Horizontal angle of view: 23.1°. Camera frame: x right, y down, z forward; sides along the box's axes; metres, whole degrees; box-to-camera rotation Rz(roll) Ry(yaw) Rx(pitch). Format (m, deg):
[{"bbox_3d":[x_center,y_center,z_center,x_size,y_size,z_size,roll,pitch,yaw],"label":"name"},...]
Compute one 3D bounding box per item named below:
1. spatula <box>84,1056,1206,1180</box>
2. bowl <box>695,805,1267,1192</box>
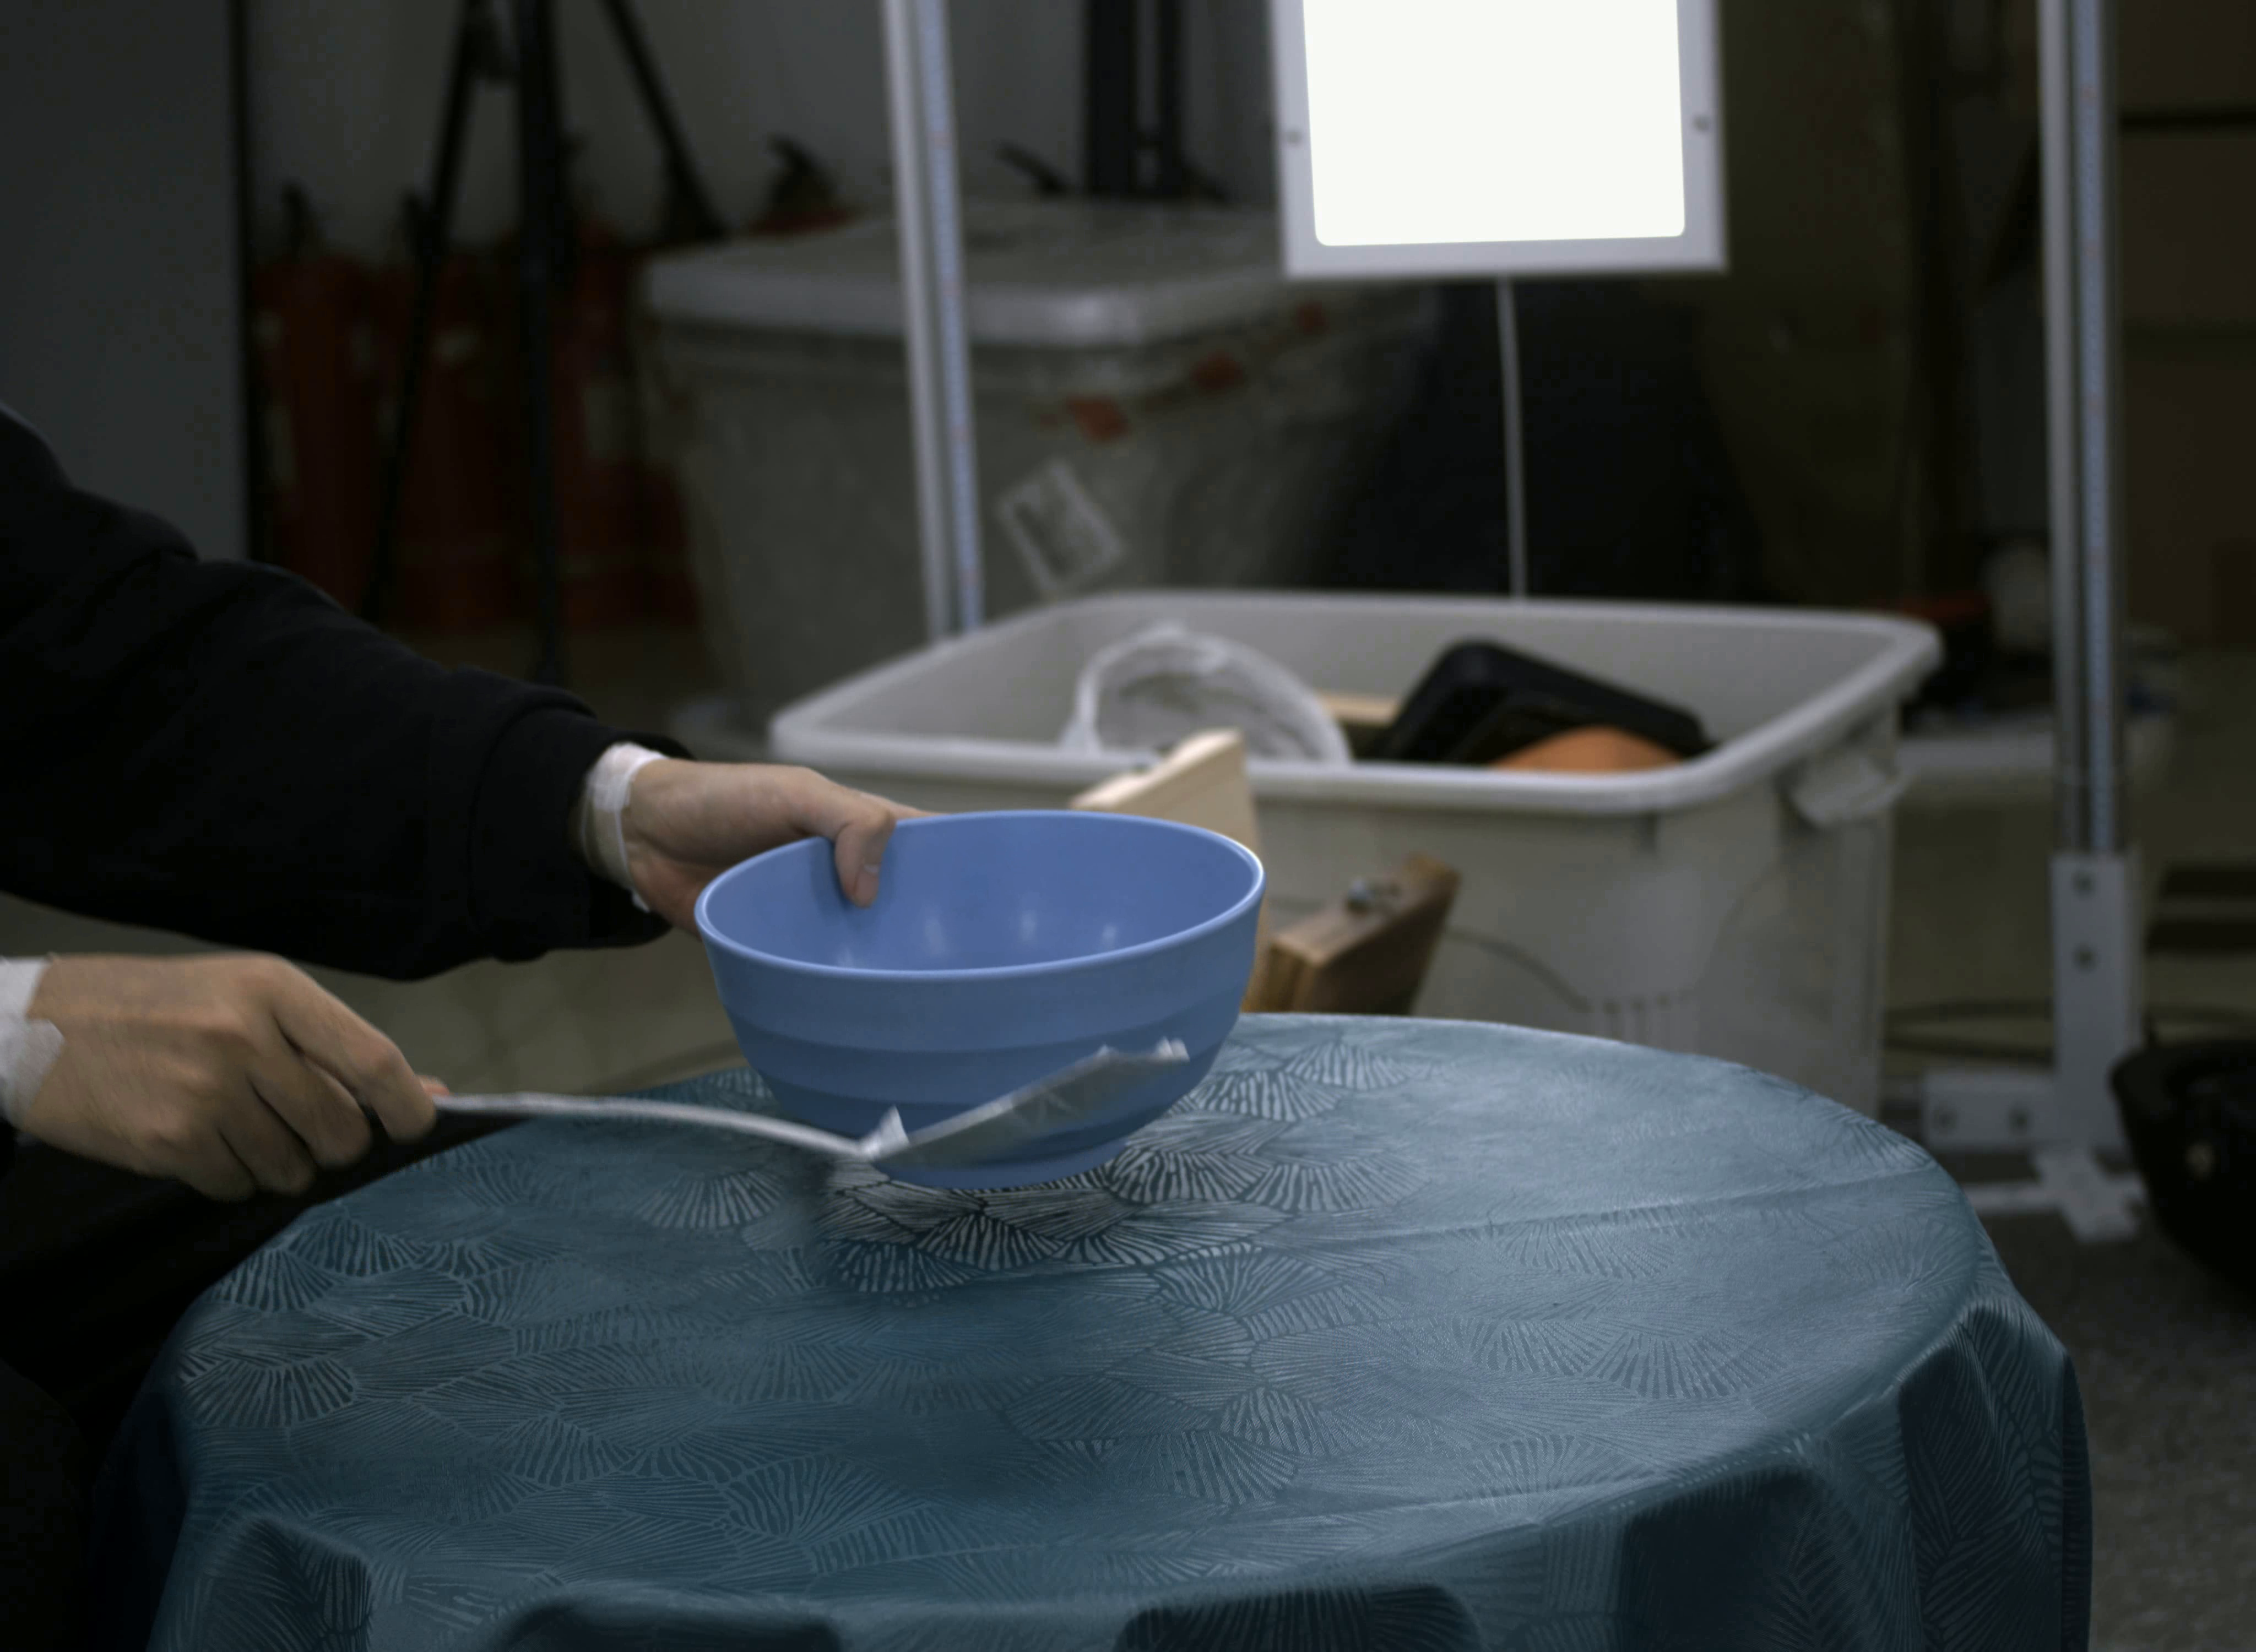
[{"bbox_3d":[-0.157,0.087,1.712,0.368,0.045,0.097,2,-1,14],"label":"spatula"},{"bbox_3d":[-0.047,0.065,1.890,0.196,0.096,0.196,-4,17,0],"label":"bowl"}]
